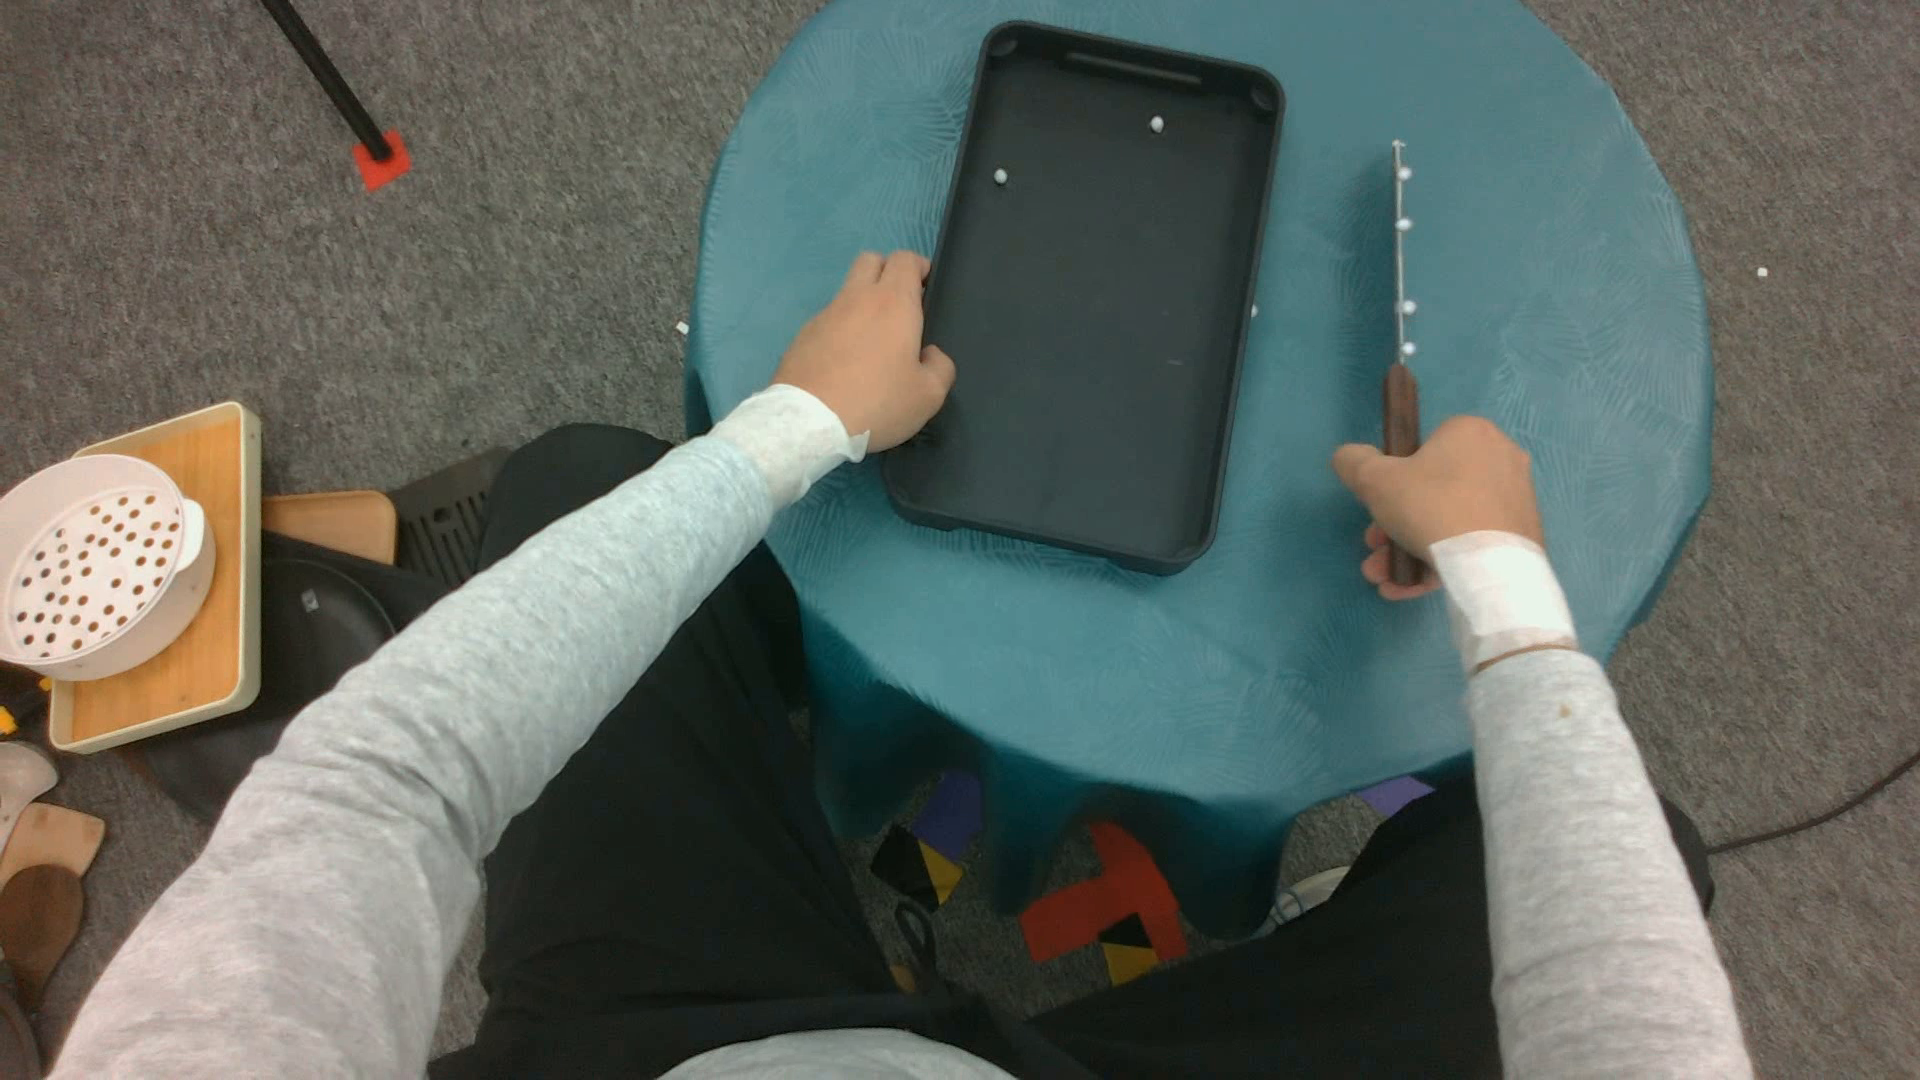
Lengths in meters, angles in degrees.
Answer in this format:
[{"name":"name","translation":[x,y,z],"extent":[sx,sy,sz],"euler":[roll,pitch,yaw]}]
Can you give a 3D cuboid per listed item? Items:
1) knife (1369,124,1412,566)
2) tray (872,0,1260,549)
[{"name":"knife","translation":[0.241,-0.118,0.781],"extent":[0.020,0.050,0.290],"euler":[0,68,11]},{"name":"tray","translation":[0.065,-0.158,0.791],"extent":[0.184,0.037,0.319],"euler":[10,72,0]}]
